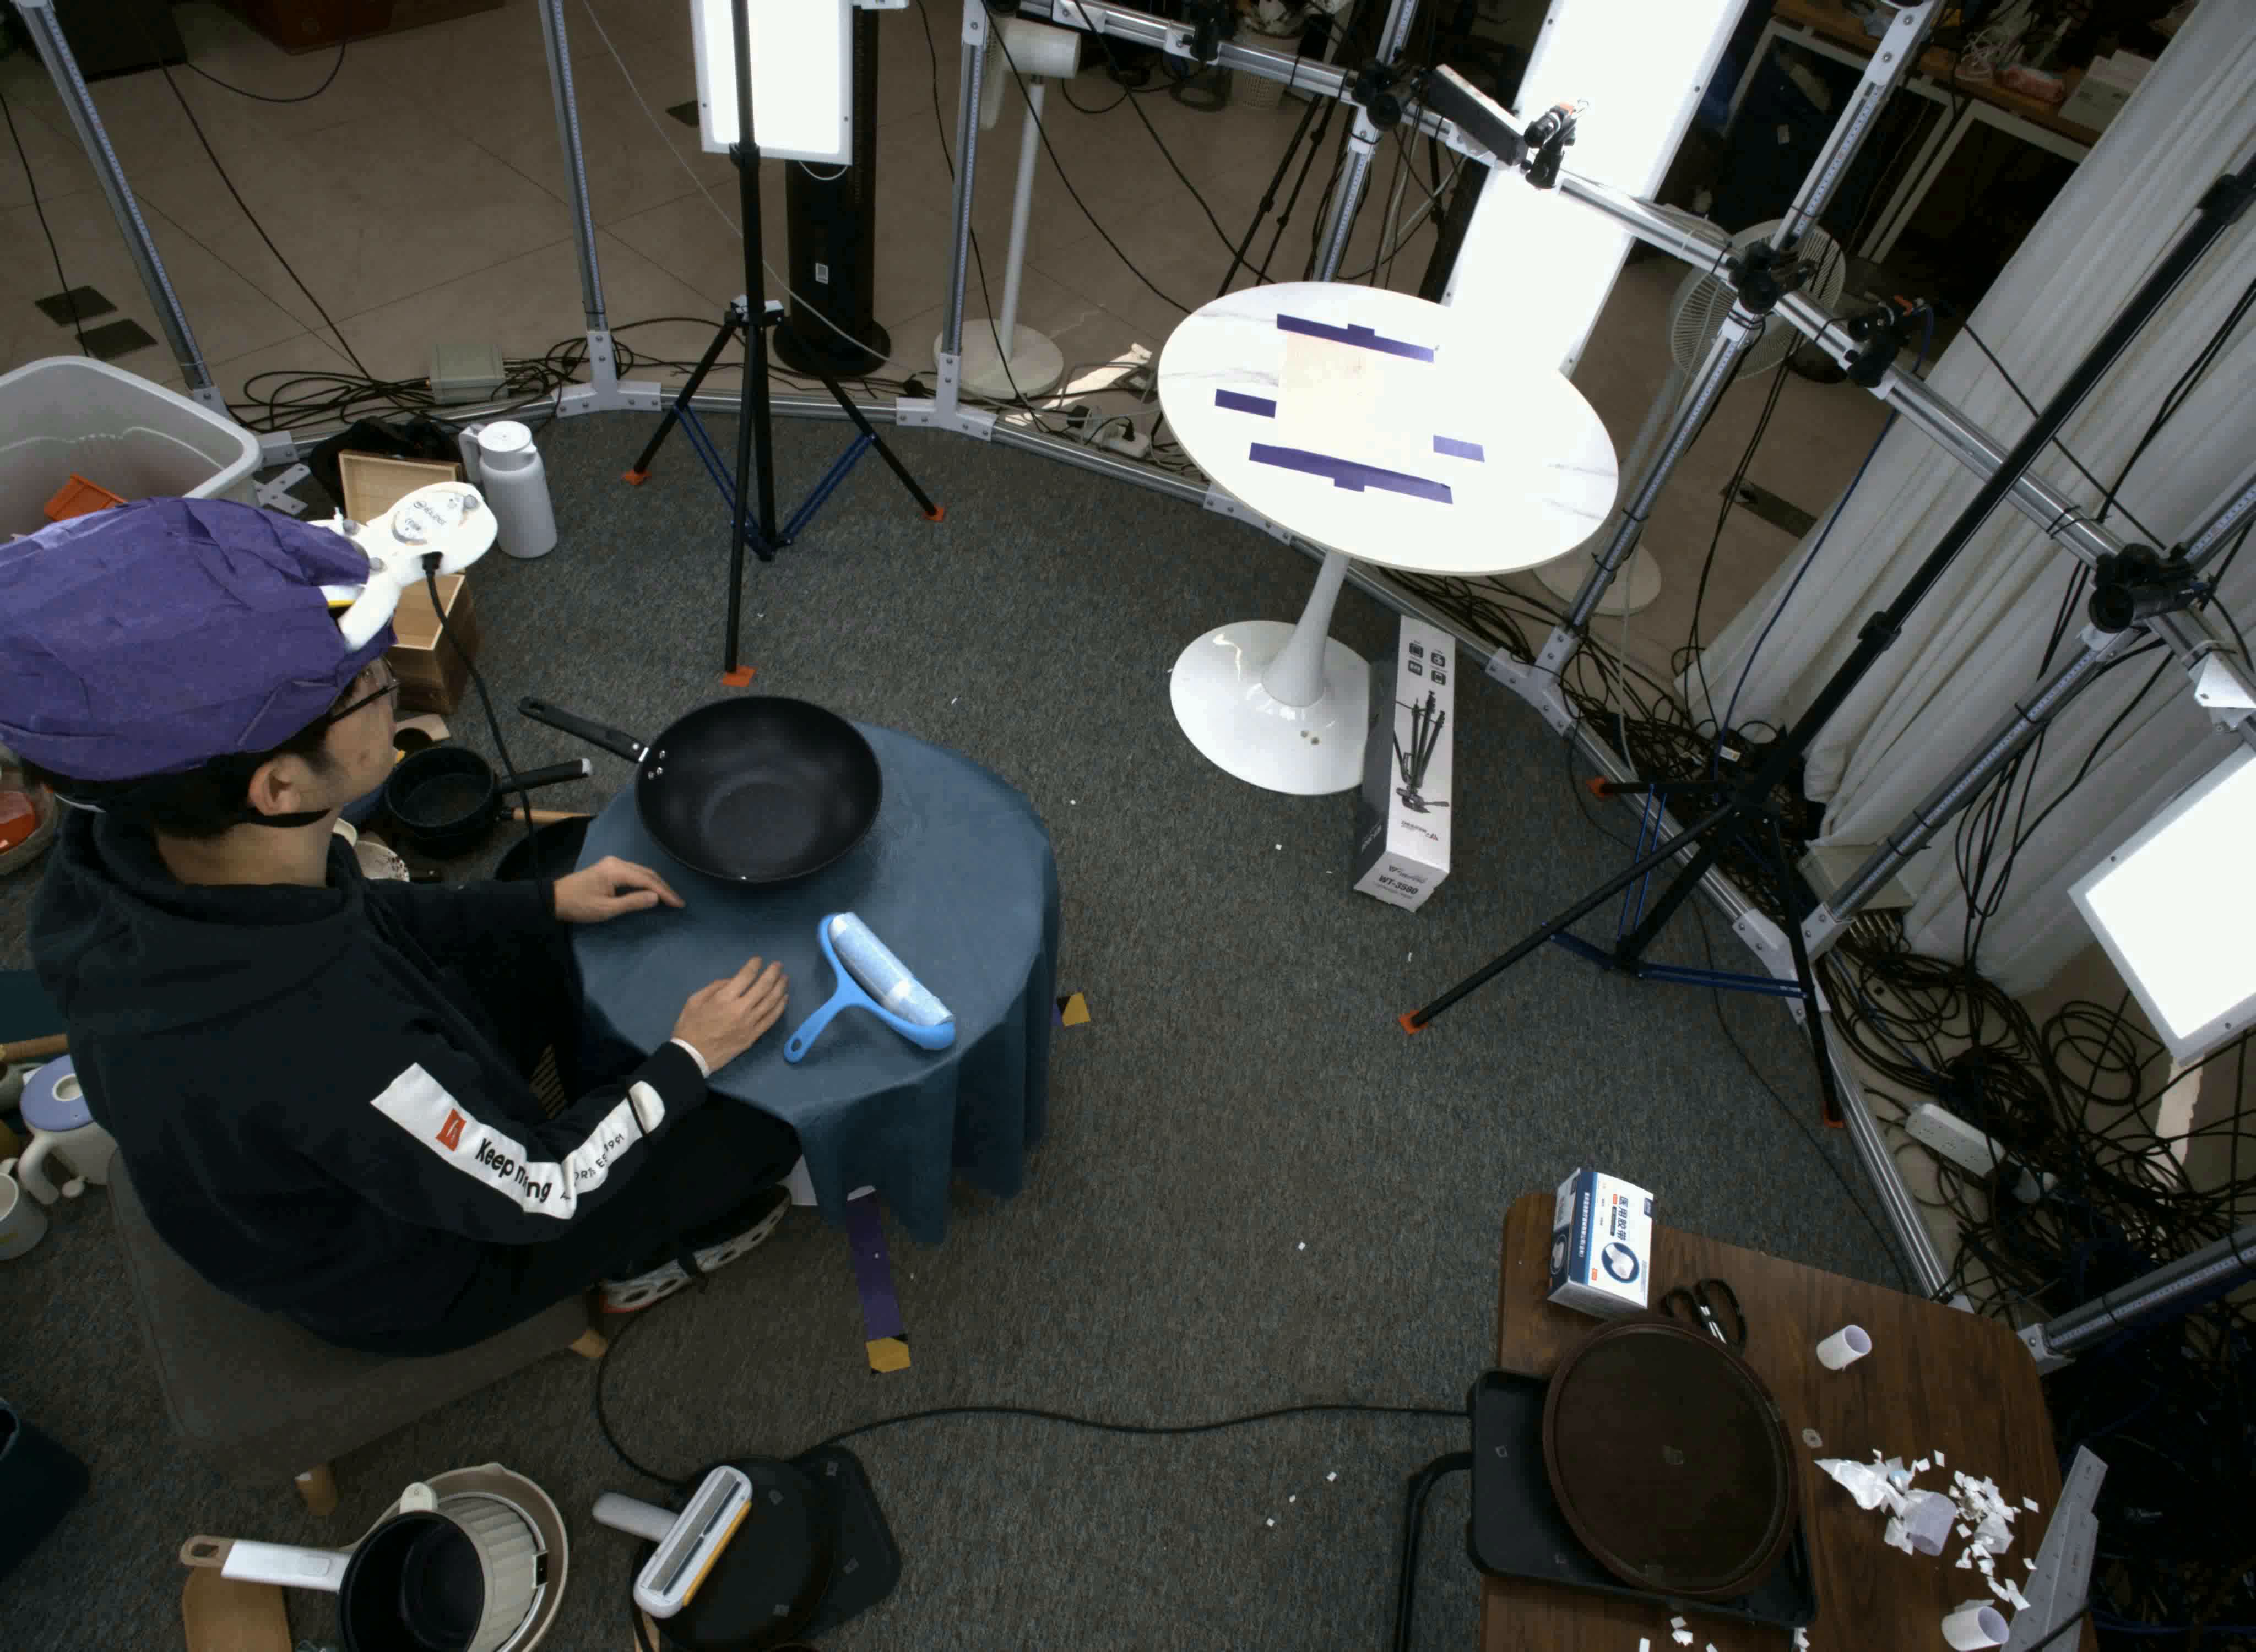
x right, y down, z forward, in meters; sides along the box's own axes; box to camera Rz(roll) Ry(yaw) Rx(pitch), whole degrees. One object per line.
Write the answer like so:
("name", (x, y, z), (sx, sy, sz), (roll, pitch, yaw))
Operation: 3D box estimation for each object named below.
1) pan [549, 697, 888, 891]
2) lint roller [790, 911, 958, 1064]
("pan", (-0.548, -0.058, 1.672), (0.474, 0.114, 0.306), (16, 50, -3))
("lint roller", (-0.331, 0.214, 1.561), (0.225, 0.069, 0.180), (40, 53, 13))
